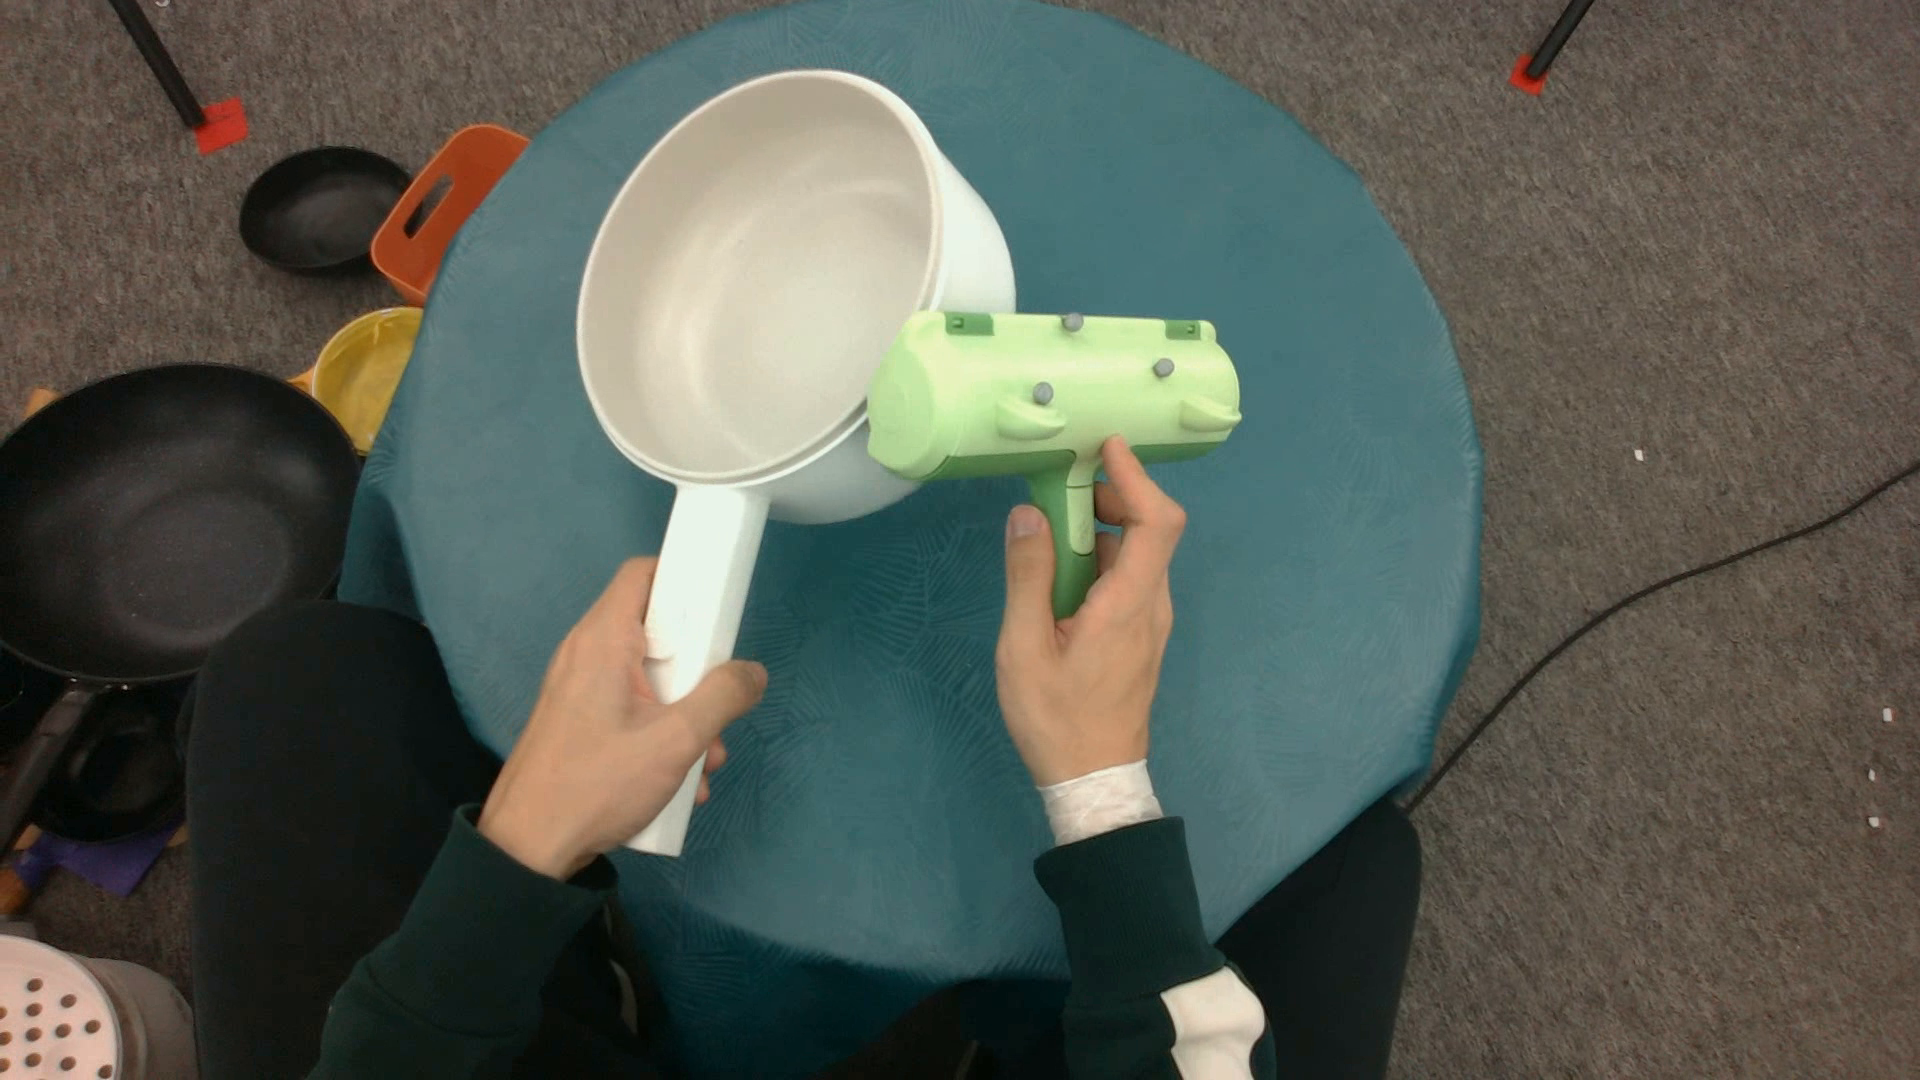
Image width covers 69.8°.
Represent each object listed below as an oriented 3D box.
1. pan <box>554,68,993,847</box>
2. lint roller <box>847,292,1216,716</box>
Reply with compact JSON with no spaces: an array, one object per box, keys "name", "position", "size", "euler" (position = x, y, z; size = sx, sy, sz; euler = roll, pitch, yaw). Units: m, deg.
[{"name":"pan","position":[-0.096,-0.037,0.644],"size":[0.201,0.102,0.355],"euler":[5,79,26]},{"name":"lint roller","position":[0.047,-0.014,0.597],"size":[0.199,0.082,0.183],"euler":[-8,92,-46]}]
